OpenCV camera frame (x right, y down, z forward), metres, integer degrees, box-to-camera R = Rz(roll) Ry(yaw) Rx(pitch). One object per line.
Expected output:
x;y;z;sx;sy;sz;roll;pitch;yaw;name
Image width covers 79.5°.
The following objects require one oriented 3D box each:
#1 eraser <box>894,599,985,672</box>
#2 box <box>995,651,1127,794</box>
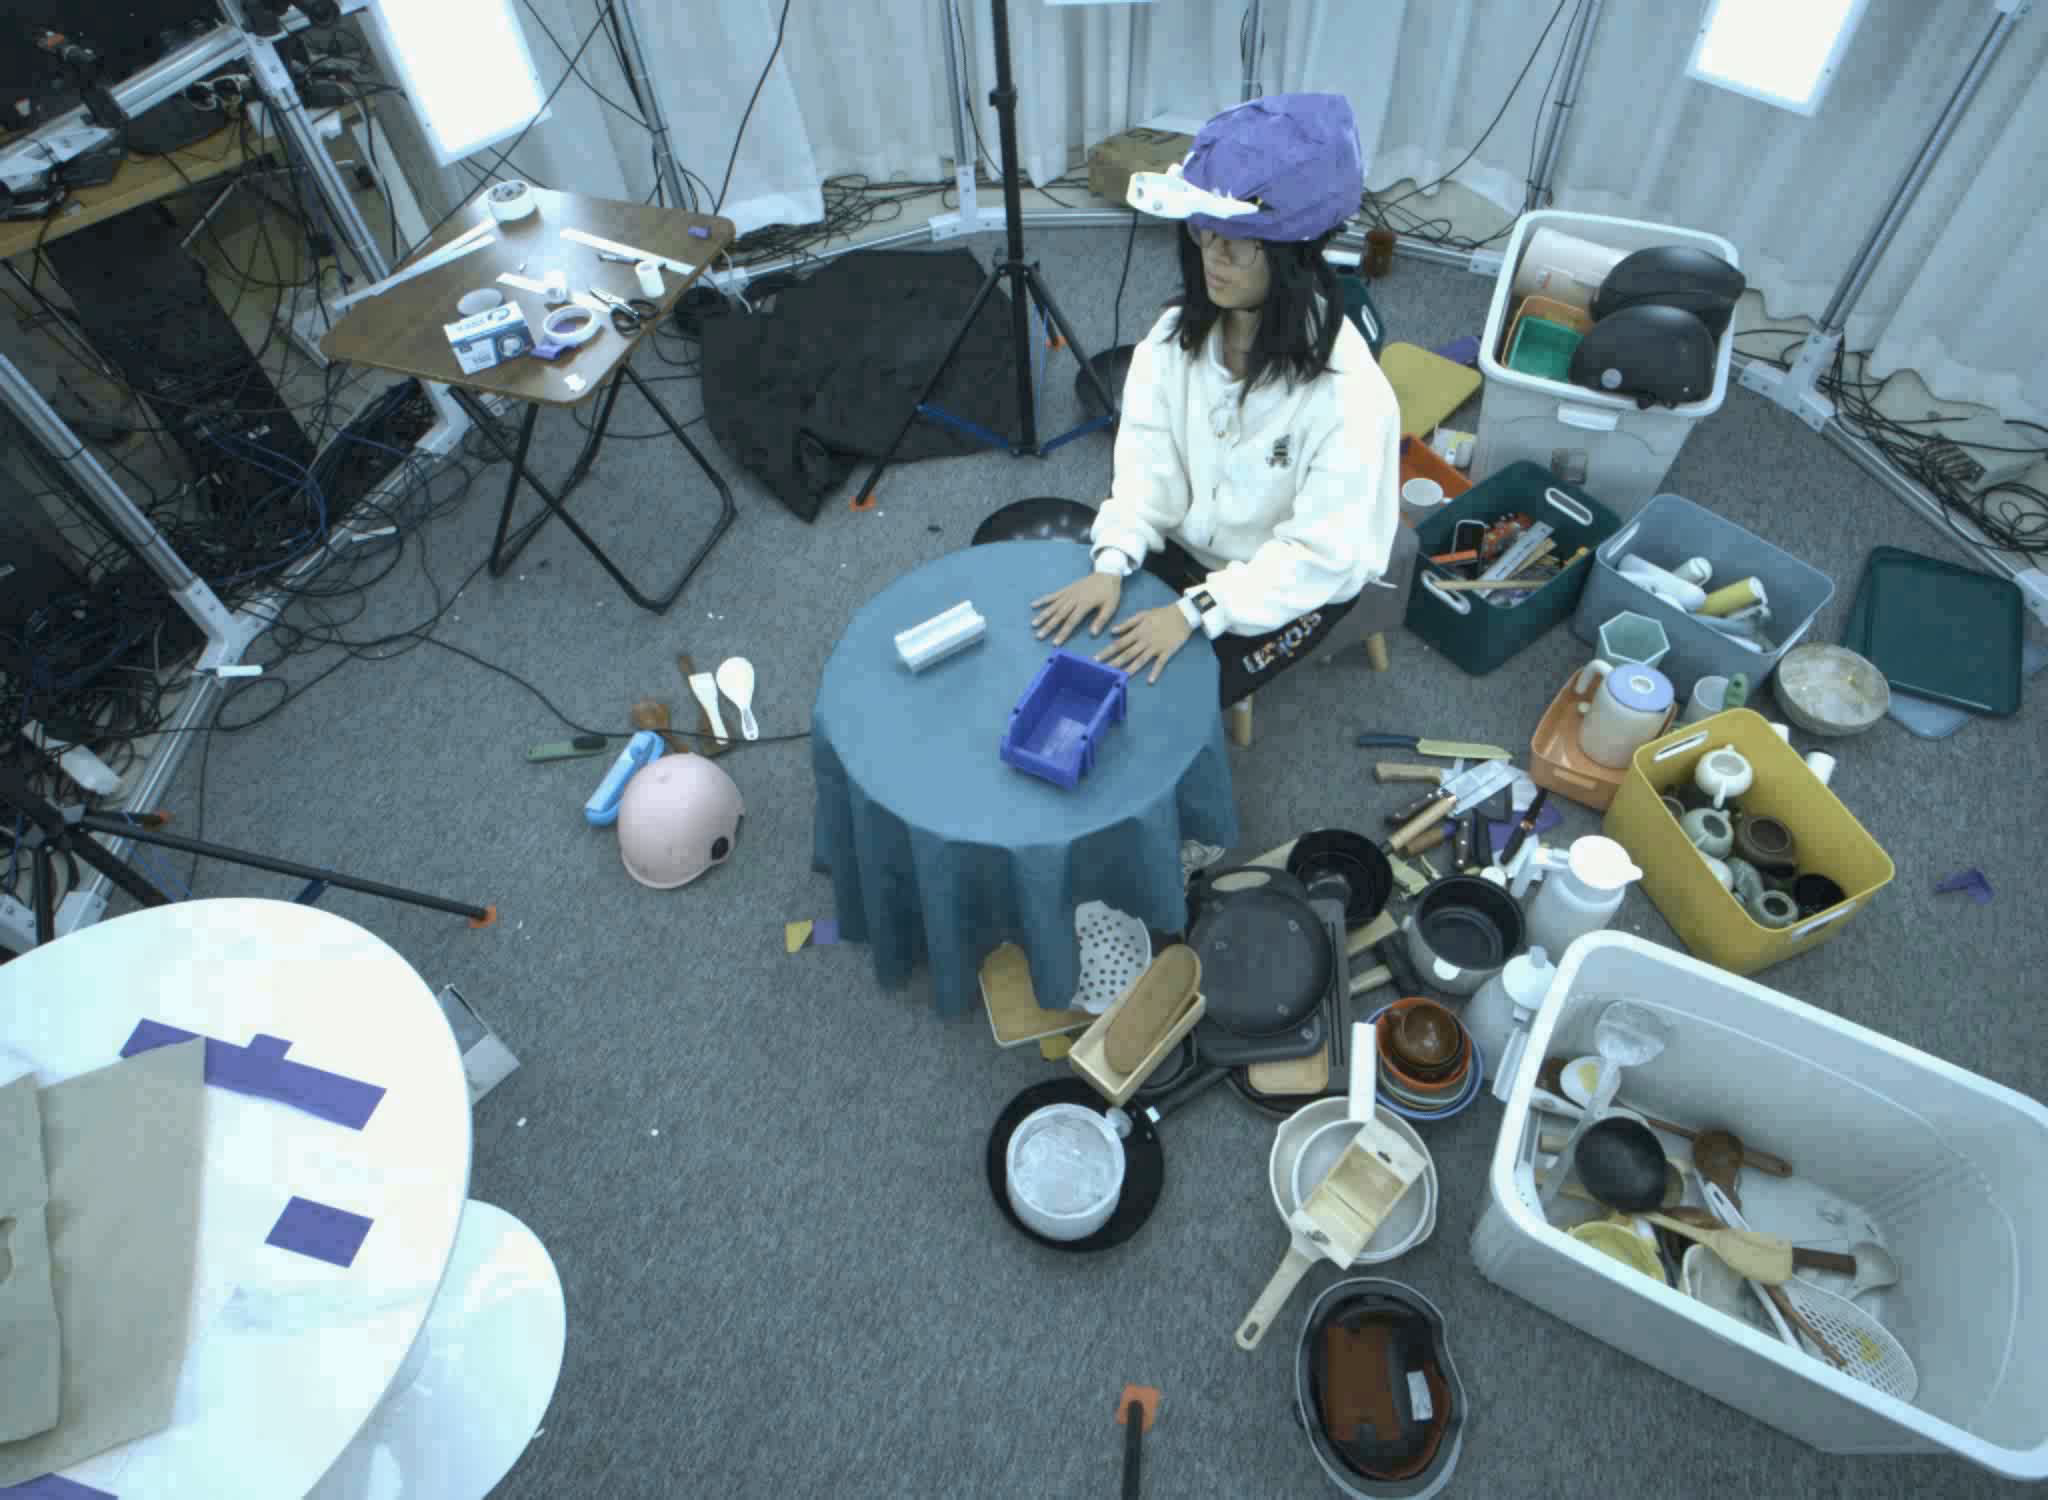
-0.130;-0.176;1.887;0.135;0.047;0.049;-31;57;-17;eraser
0.055;-0.035;1.761;0.123;0.083;0.180;24;57;18;box
